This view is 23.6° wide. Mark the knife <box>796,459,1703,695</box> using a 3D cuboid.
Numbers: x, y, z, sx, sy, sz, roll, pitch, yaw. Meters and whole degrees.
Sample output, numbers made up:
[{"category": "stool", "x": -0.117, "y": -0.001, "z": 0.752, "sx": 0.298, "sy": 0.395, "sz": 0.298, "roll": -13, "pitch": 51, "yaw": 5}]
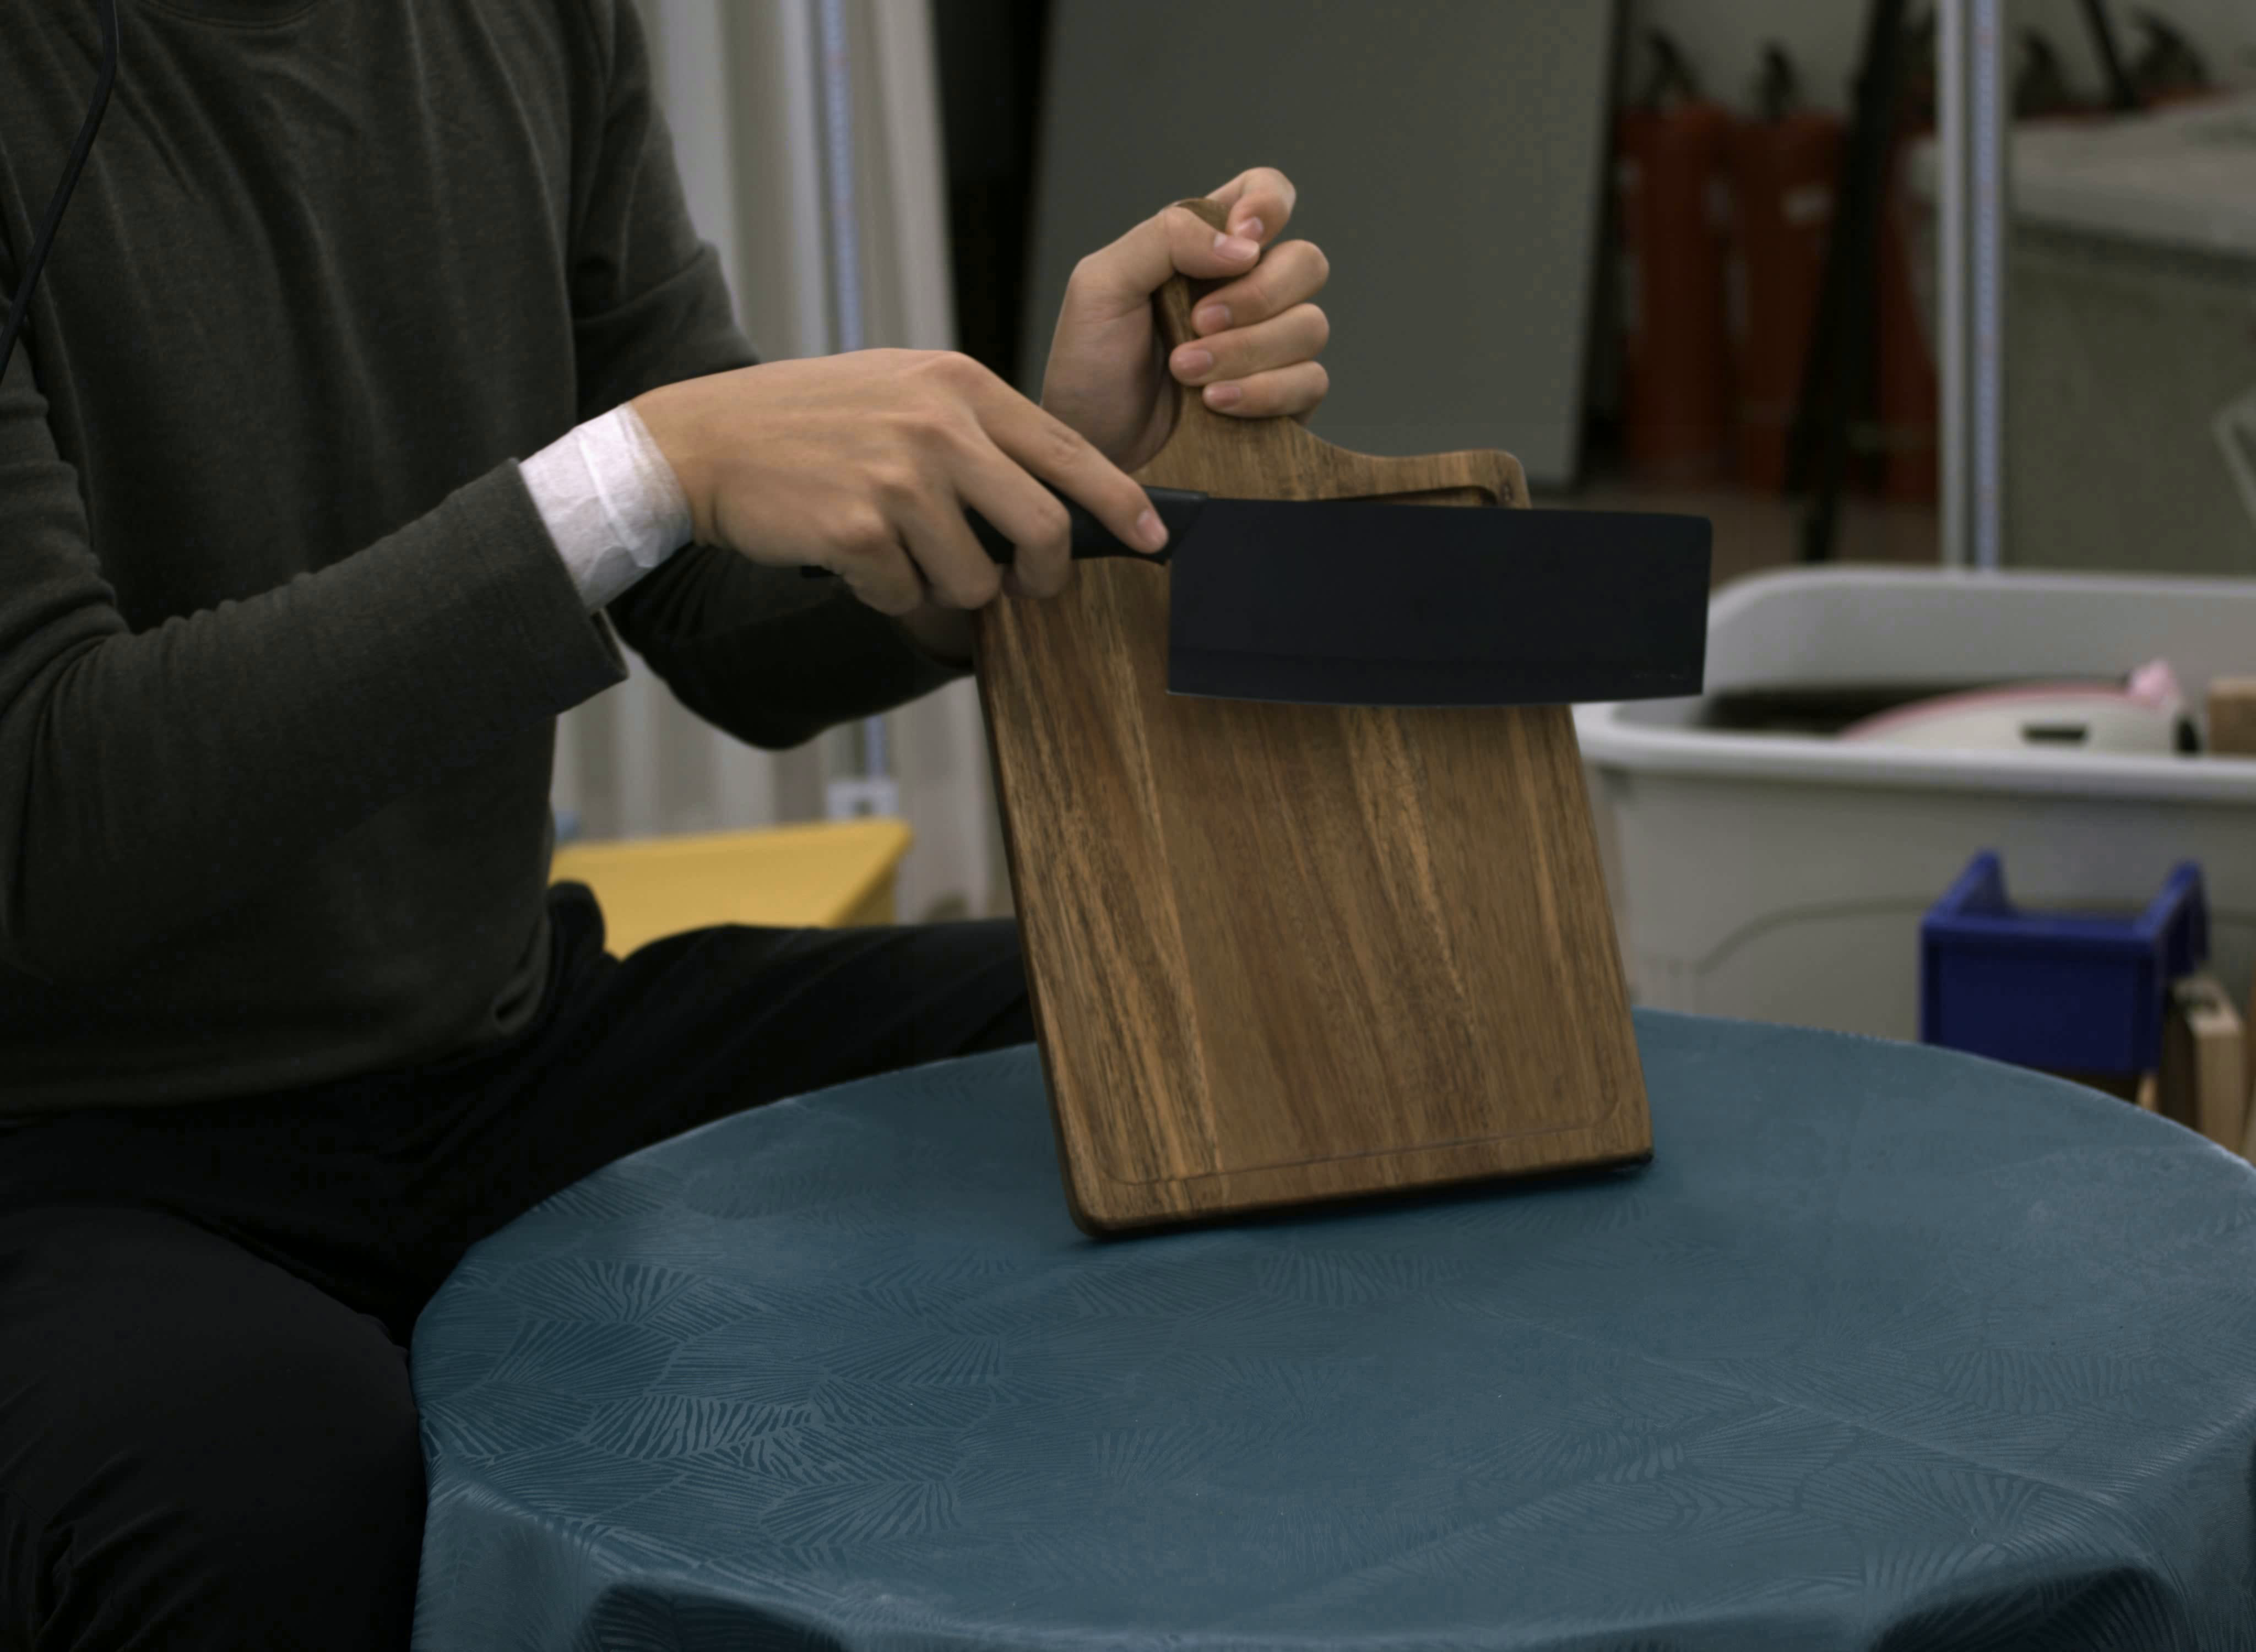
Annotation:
[{"category": "knife", "x": 0.042, "y": -0.082, "z": 1.751, "sx": 0.297, "sy": 0.082, "sz": 0.021, "roll": 6, "pitch": 4, "yaw": -5}]

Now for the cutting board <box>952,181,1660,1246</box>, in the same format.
[{"category": "cutting board", "x": 0.049, "y": -0.047, "z": 1.783, "sx": 0.197, "sy": 0.357, "sz": 0.023, "roll": -7, "pitch": -16, "yaw": -12}]
